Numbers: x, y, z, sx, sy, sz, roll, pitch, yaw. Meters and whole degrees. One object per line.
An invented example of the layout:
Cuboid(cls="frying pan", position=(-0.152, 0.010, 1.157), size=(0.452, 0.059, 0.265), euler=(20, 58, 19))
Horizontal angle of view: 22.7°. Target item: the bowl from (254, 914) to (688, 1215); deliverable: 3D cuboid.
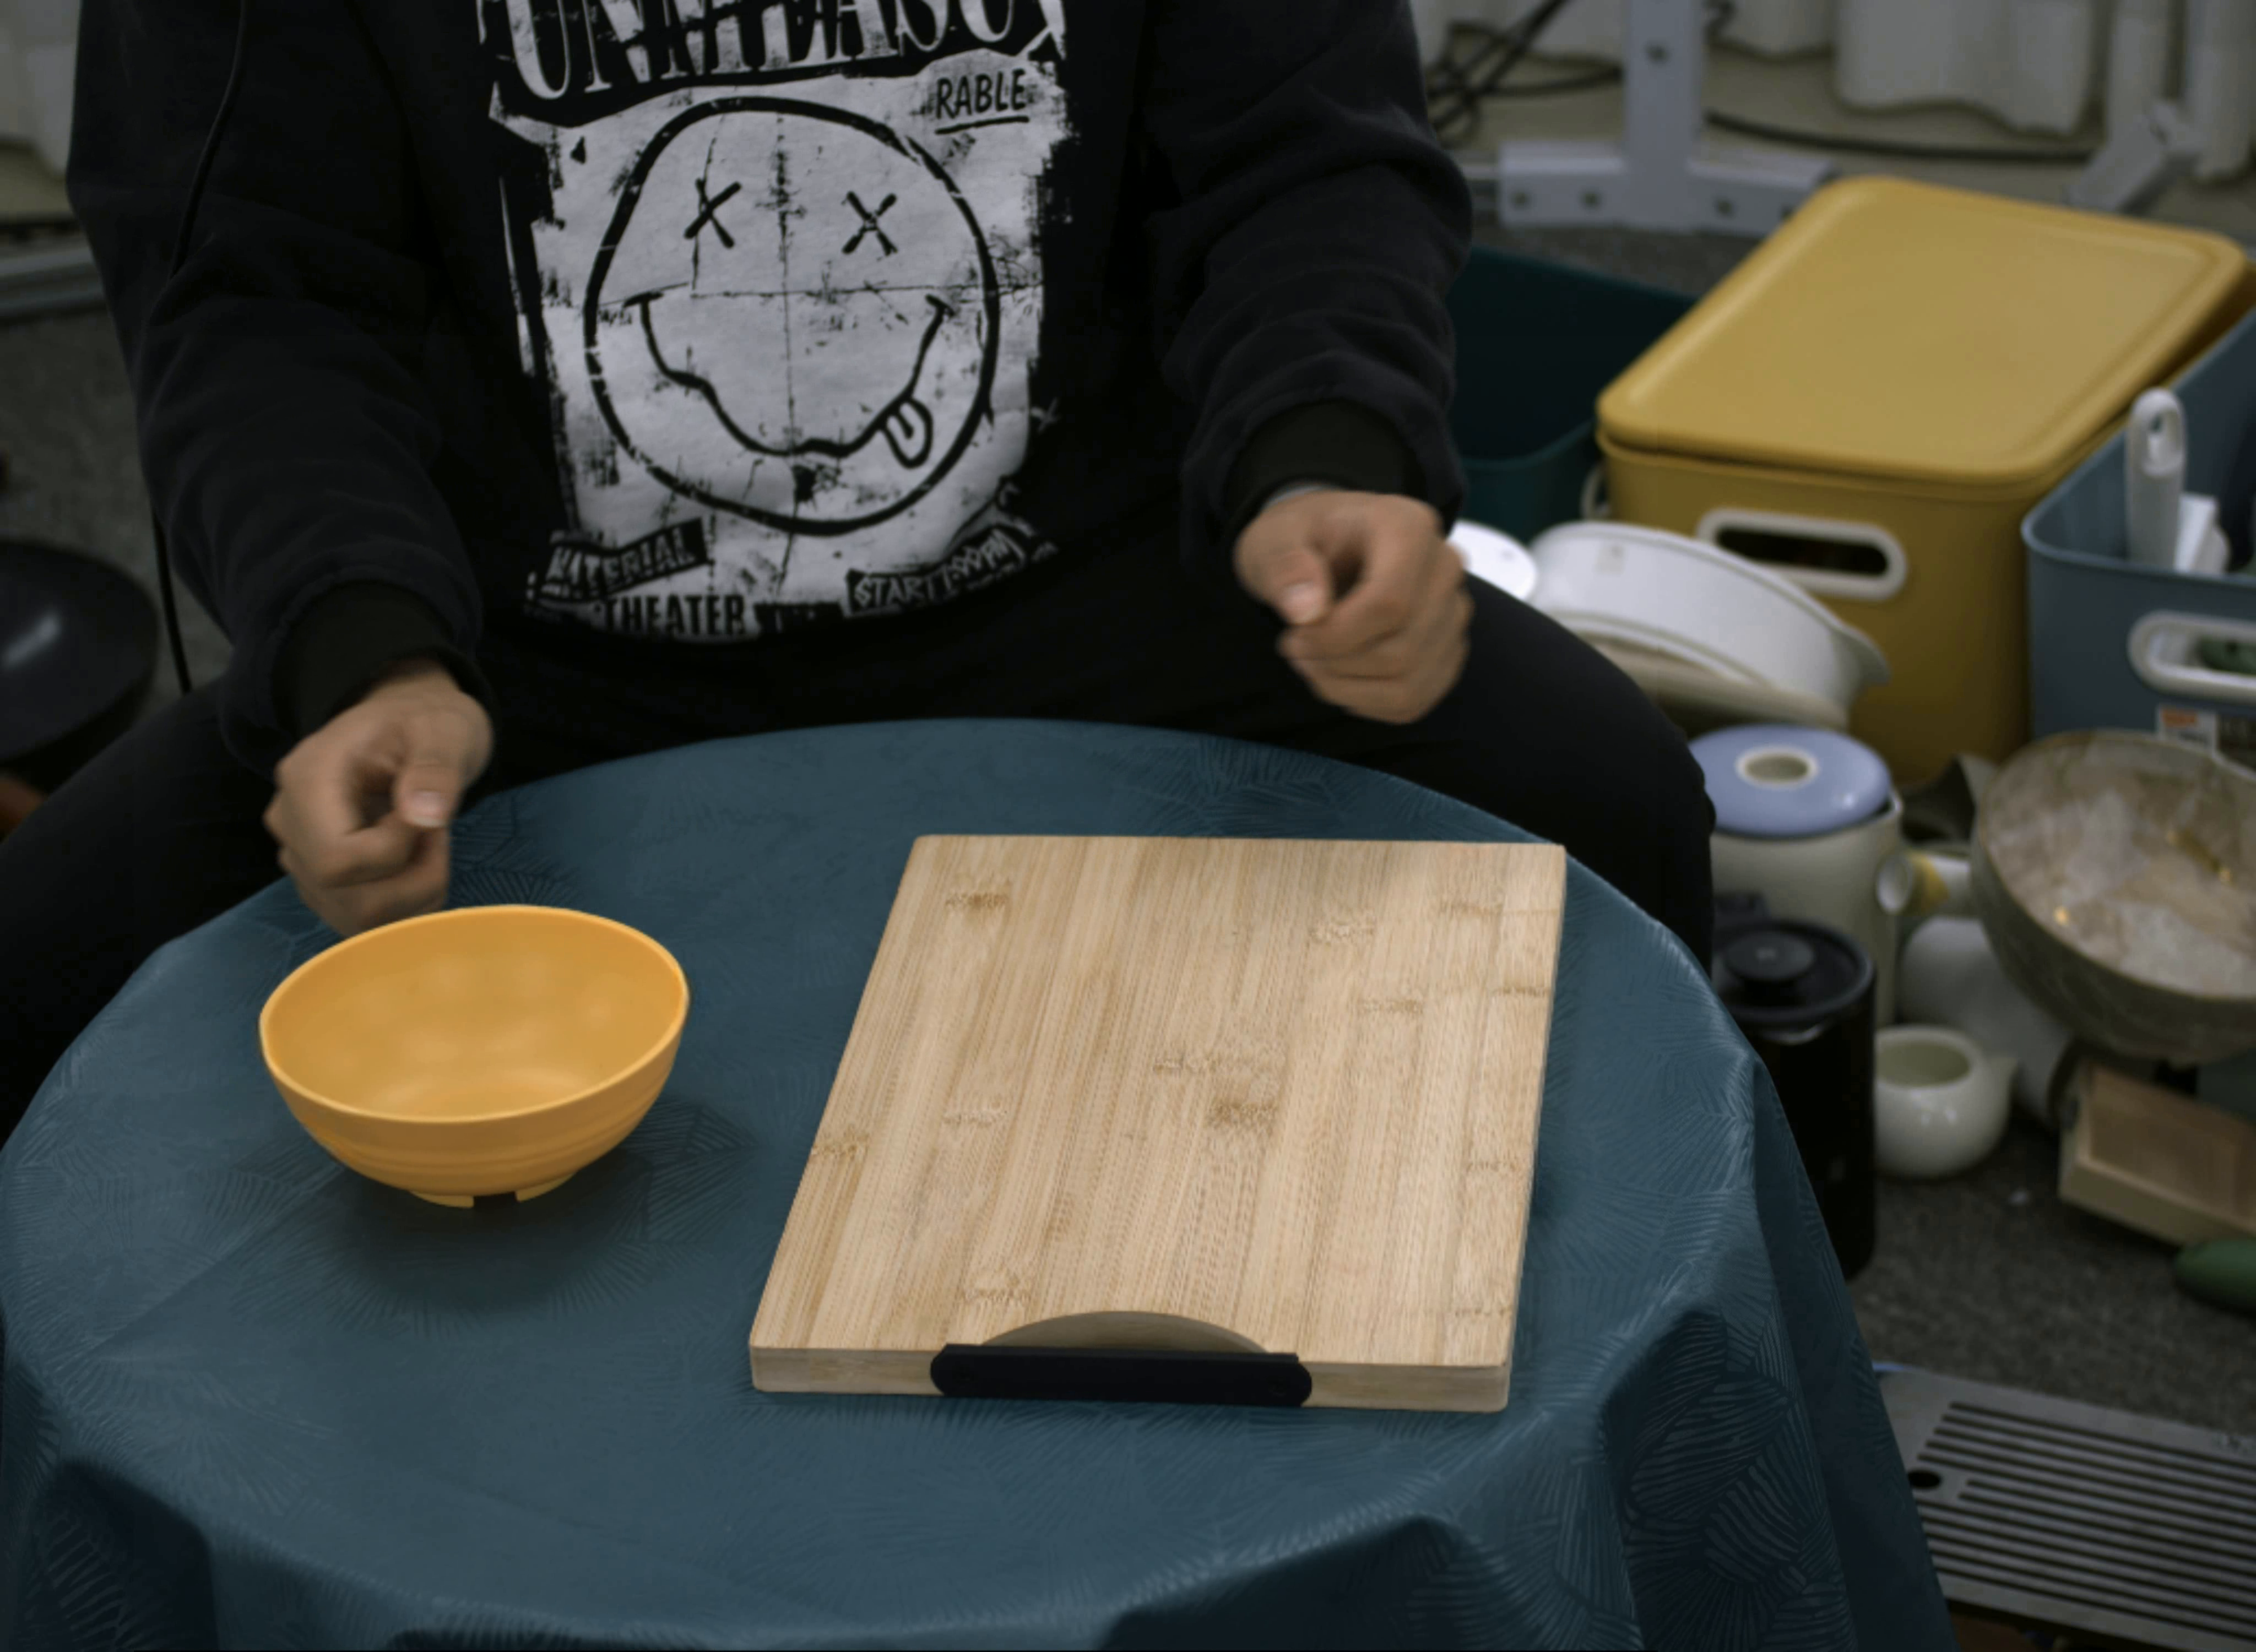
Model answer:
Cuboid(cls="bowl", position=(-0.219, 0.089, 1.887), size=(0.144, 0.059, 0.147), euler=(0, 26, 0))

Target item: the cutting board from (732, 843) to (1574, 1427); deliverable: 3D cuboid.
Cuboid(cls="cutting board", position=(0.018, 0.097, 1.890), size=(0.249, 0.023, 0.354), euler=(0, 27, 7))
